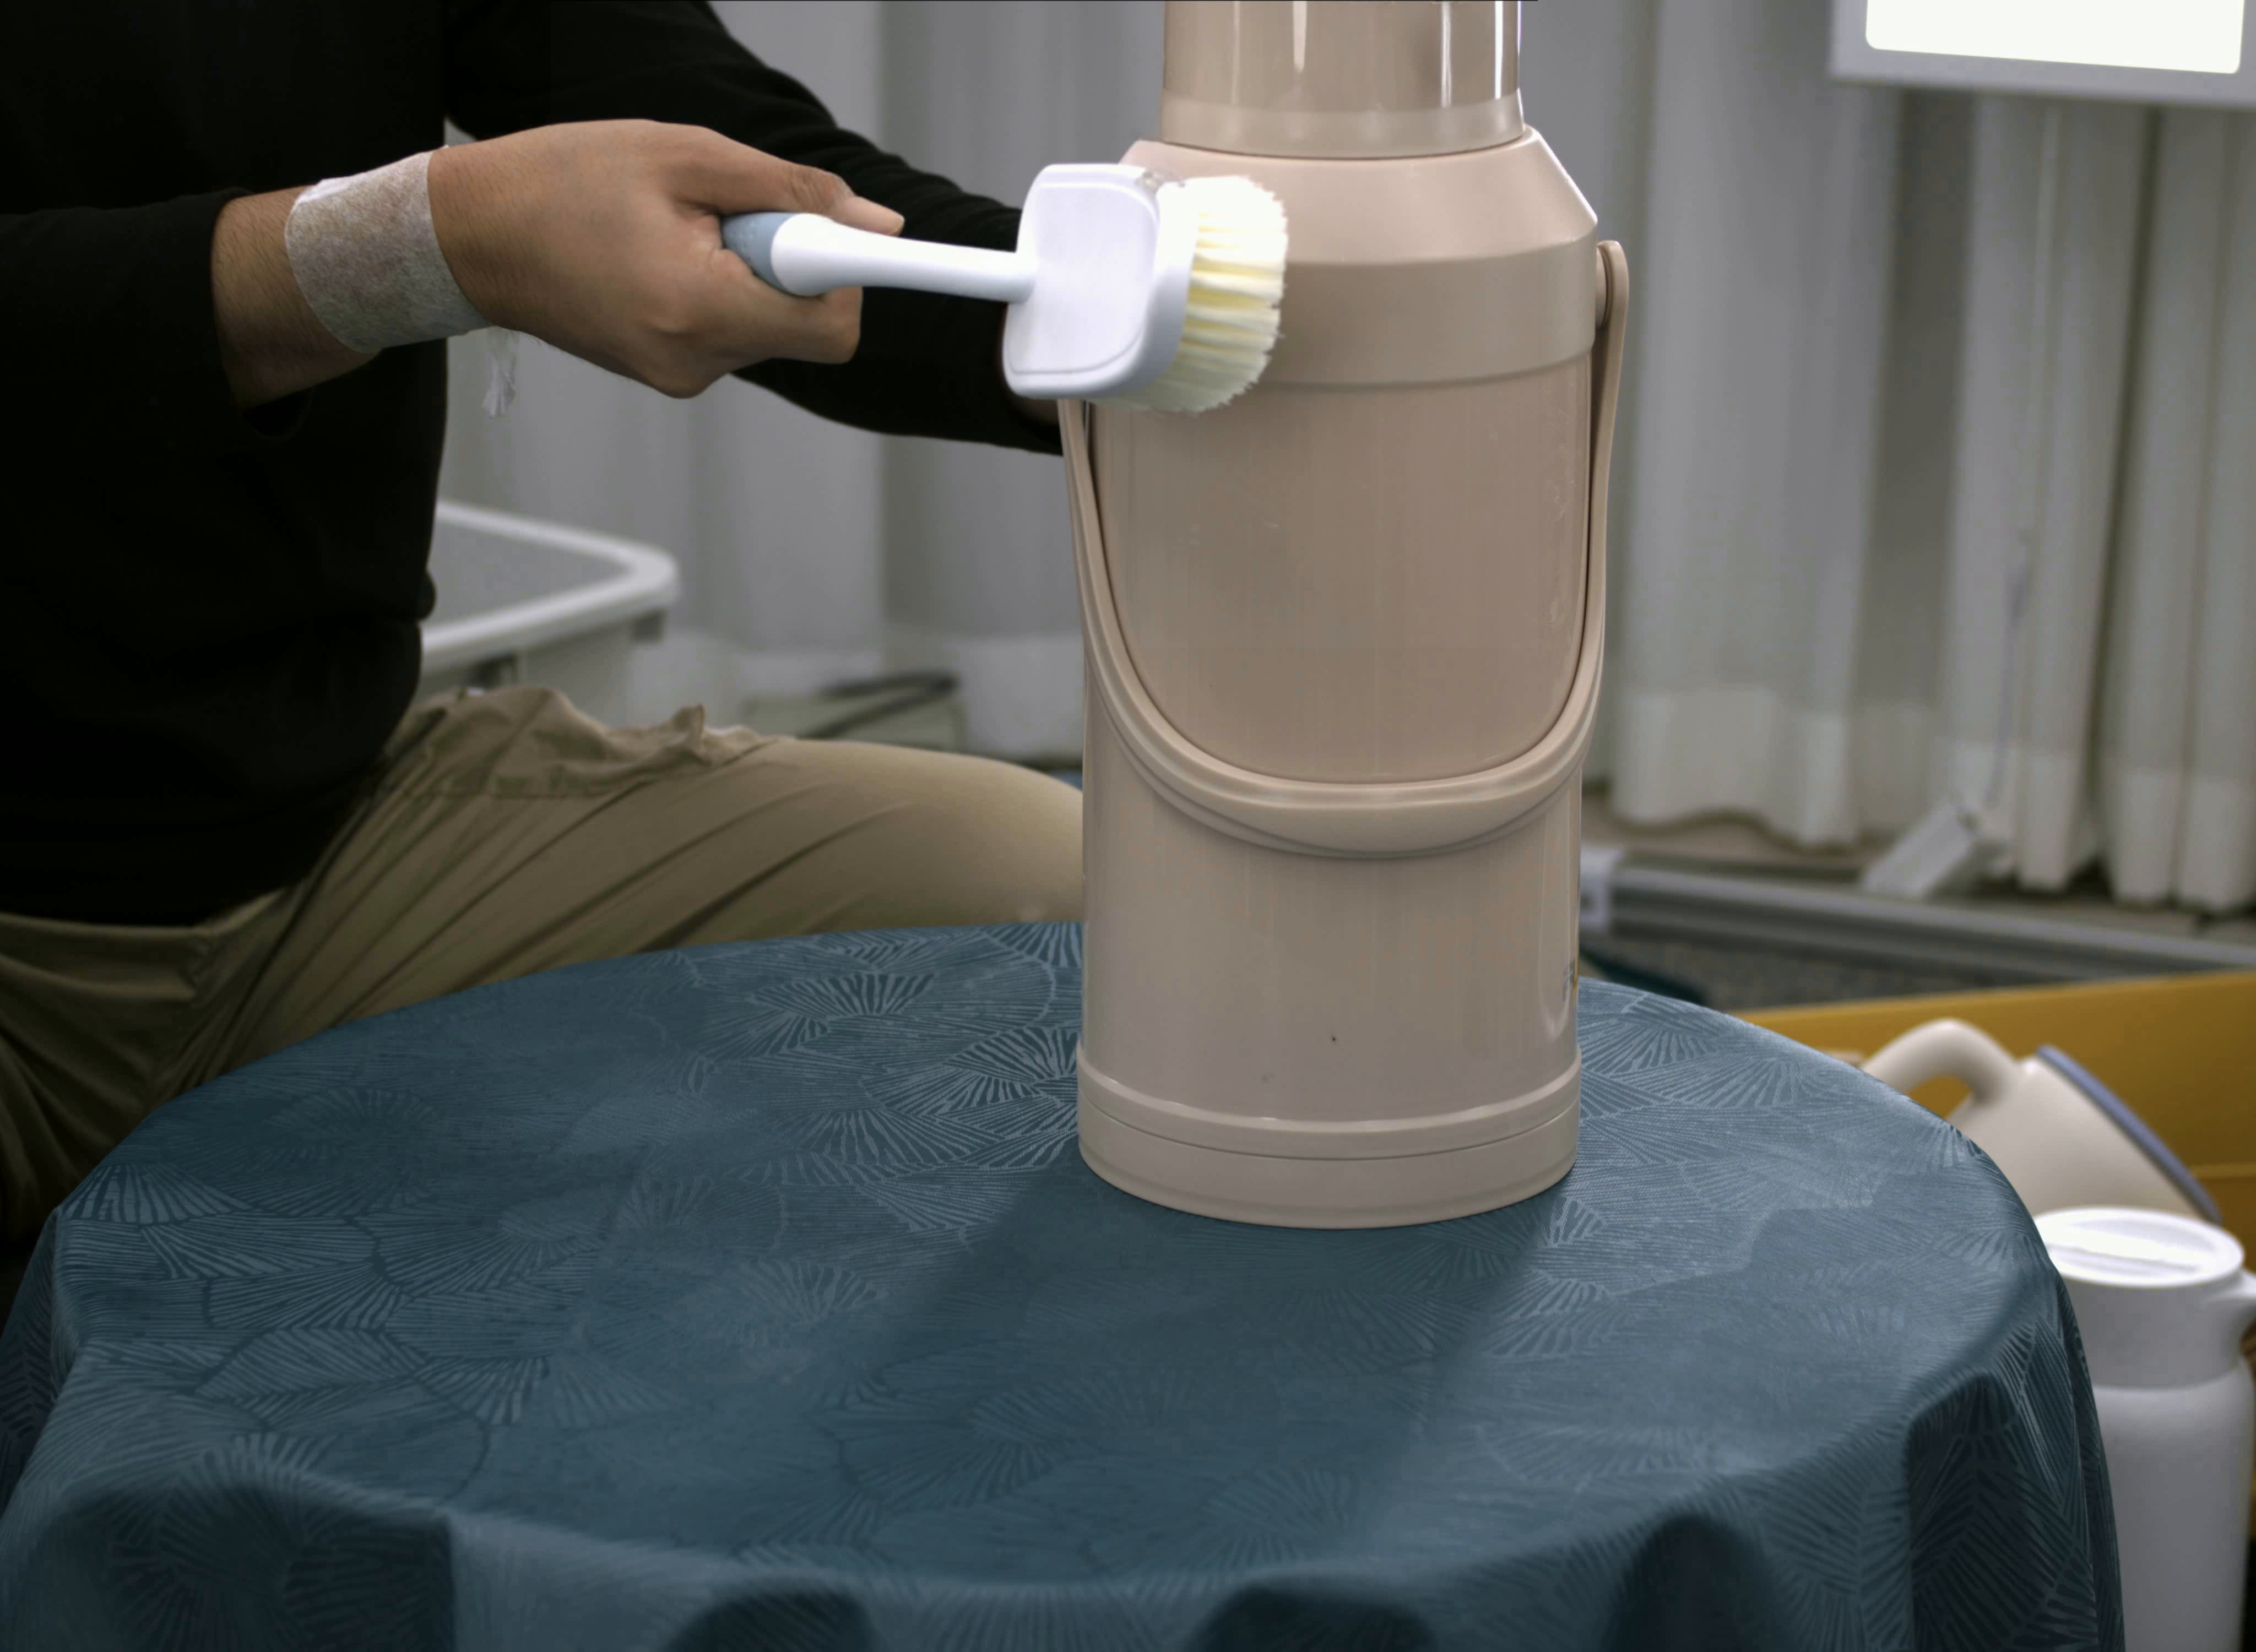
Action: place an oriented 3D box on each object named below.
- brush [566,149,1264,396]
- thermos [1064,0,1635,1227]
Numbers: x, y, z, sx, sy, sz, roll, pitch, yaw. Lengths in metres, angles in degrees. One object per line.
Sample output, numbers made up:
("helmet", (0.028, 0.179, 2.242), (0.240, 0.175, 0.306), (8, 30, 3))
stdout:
("brush", (-0.053, -0.170, 1.558), (0.083, 0.085, 0.321), (-51, 31, -19))
("thermos", (0.065, -0.095, 1.623), (0.175, 0.410, 0.205), (-4, 17, -10))
